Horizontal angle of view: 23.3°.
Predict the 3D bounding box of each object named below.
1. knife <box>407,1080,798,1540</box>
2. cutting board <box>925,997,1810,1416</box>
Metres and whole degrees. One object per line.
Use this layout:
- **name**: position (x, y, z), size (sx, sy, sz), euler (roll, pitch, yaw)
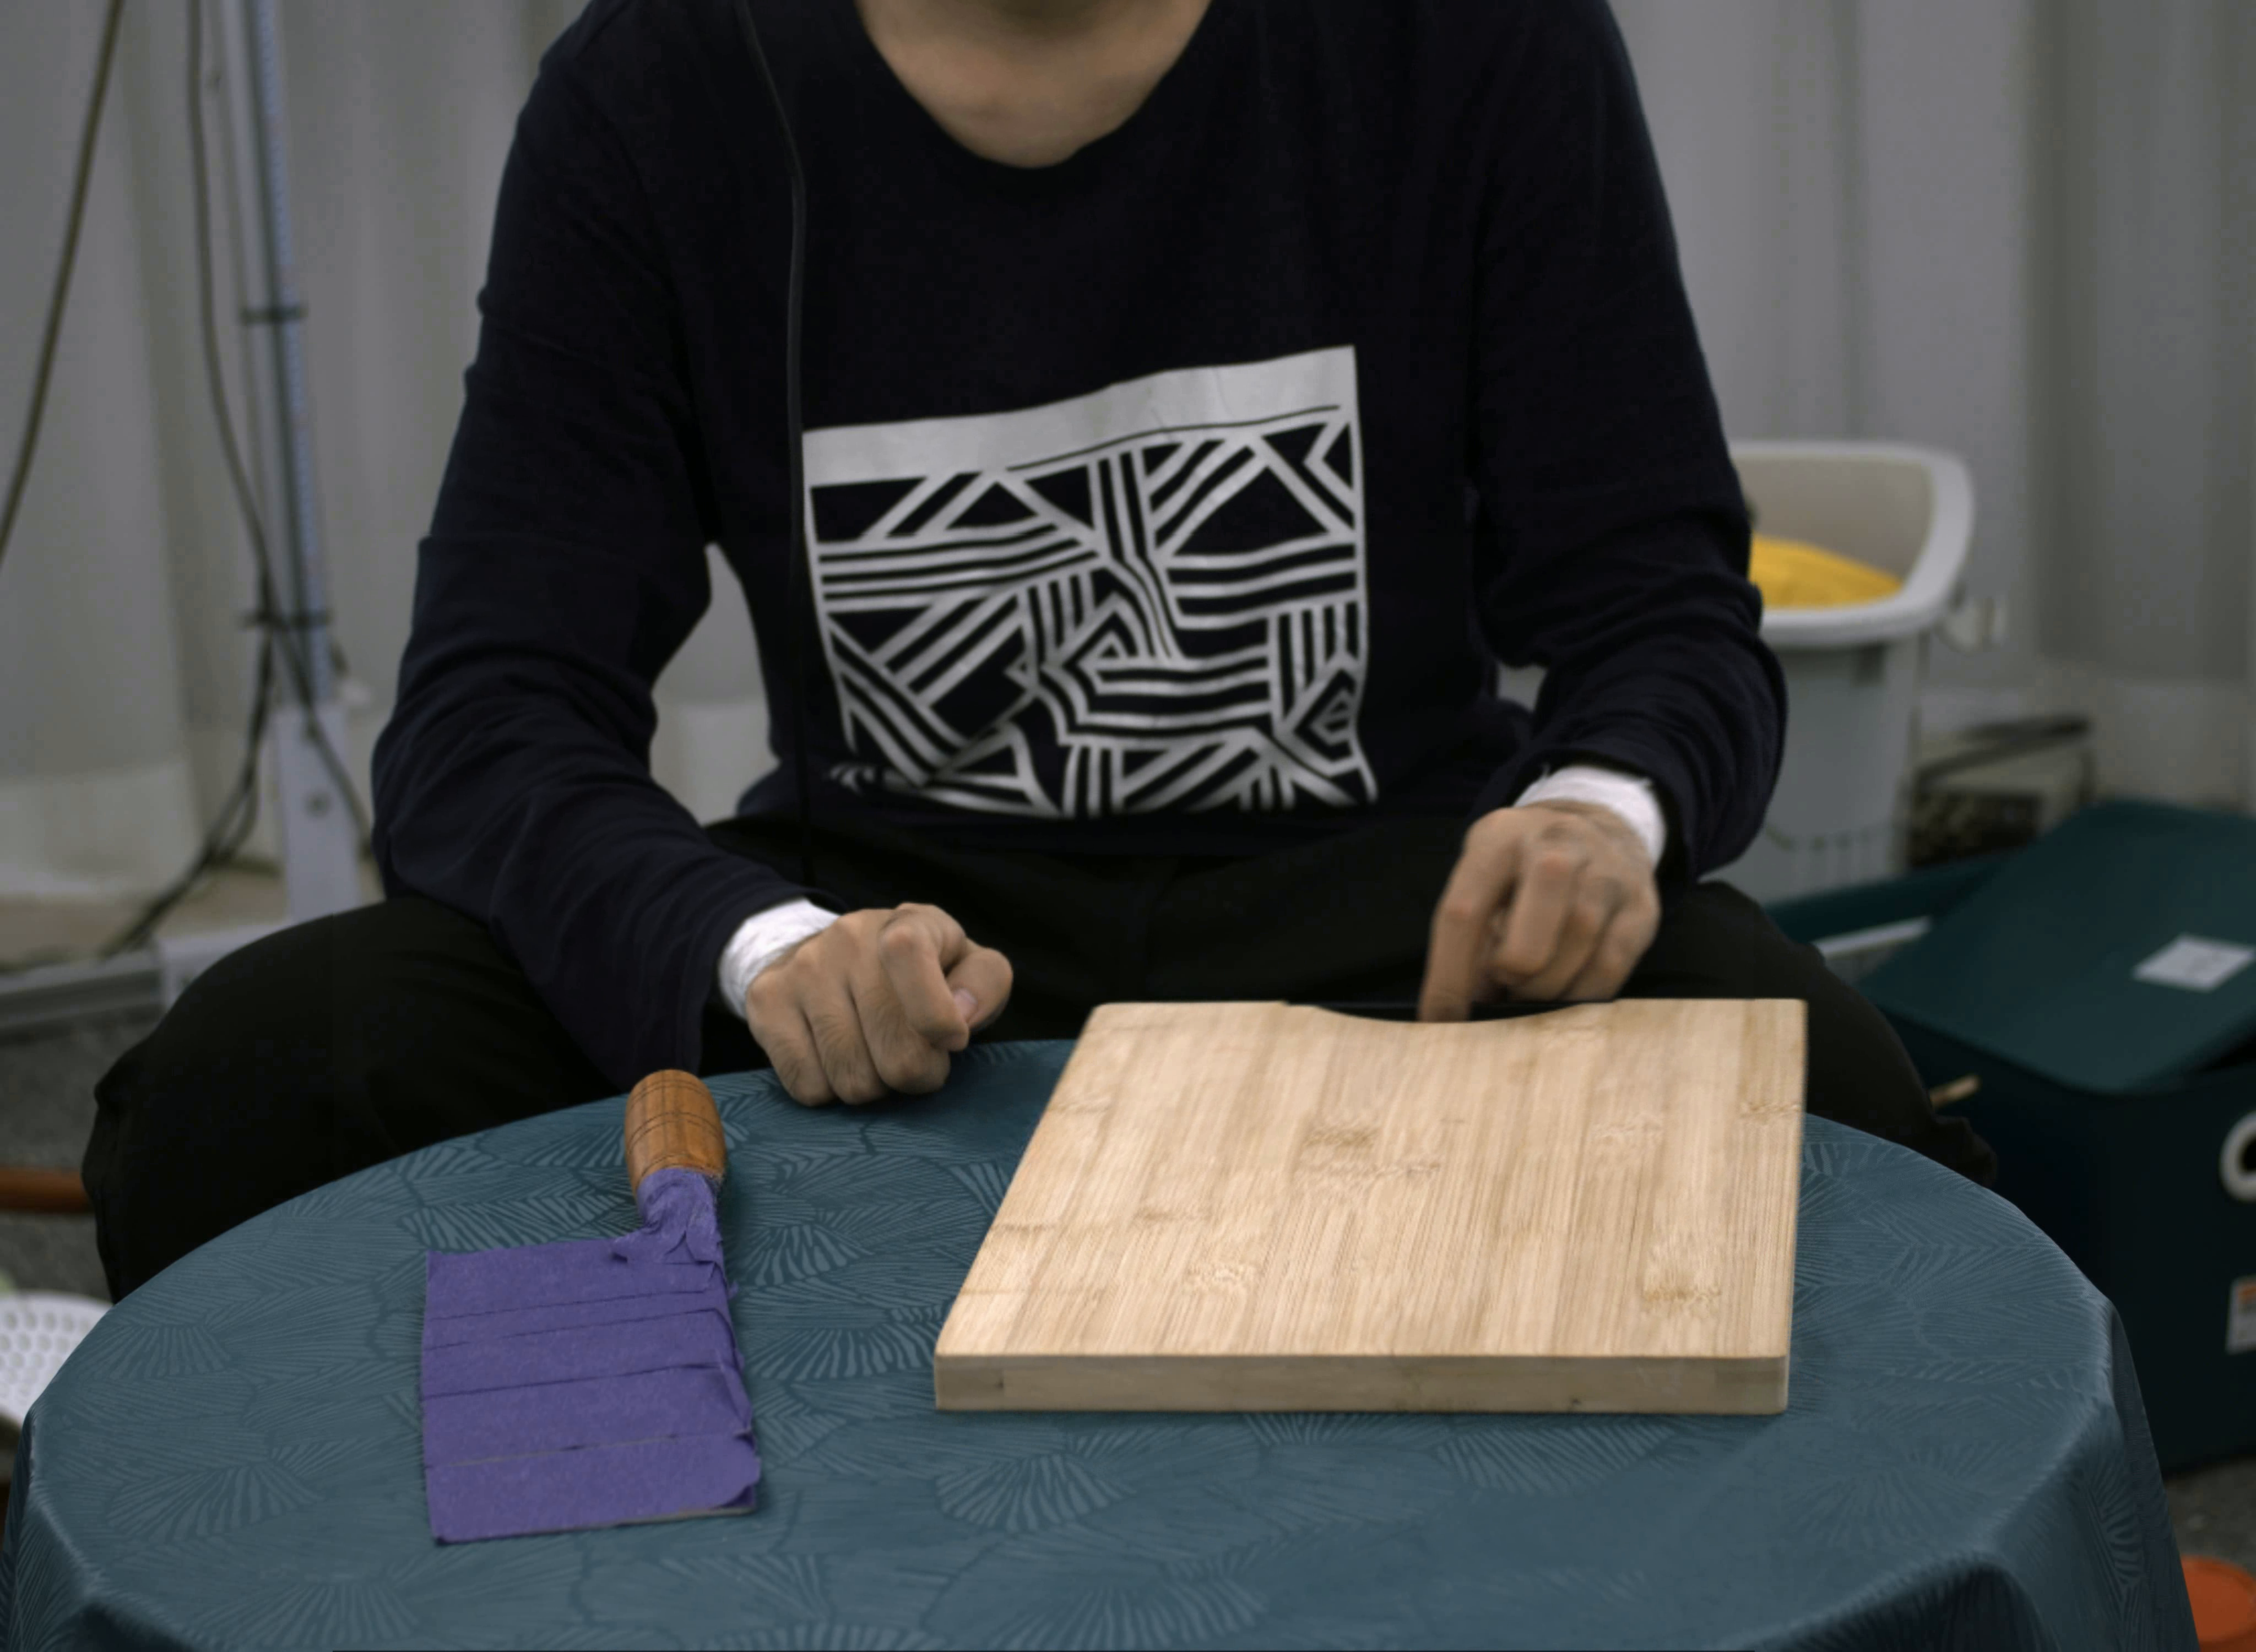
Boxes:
- **knife**: position (-0.160, 0.138, 1.608), size (0.103, 0.032, 0.317), euler (-4, 15, -7)
- **cutting board**: position (0.085, 0.112, 1.683), size (0.250, 0.023, 0.350), euler (-1, 15, 7)
